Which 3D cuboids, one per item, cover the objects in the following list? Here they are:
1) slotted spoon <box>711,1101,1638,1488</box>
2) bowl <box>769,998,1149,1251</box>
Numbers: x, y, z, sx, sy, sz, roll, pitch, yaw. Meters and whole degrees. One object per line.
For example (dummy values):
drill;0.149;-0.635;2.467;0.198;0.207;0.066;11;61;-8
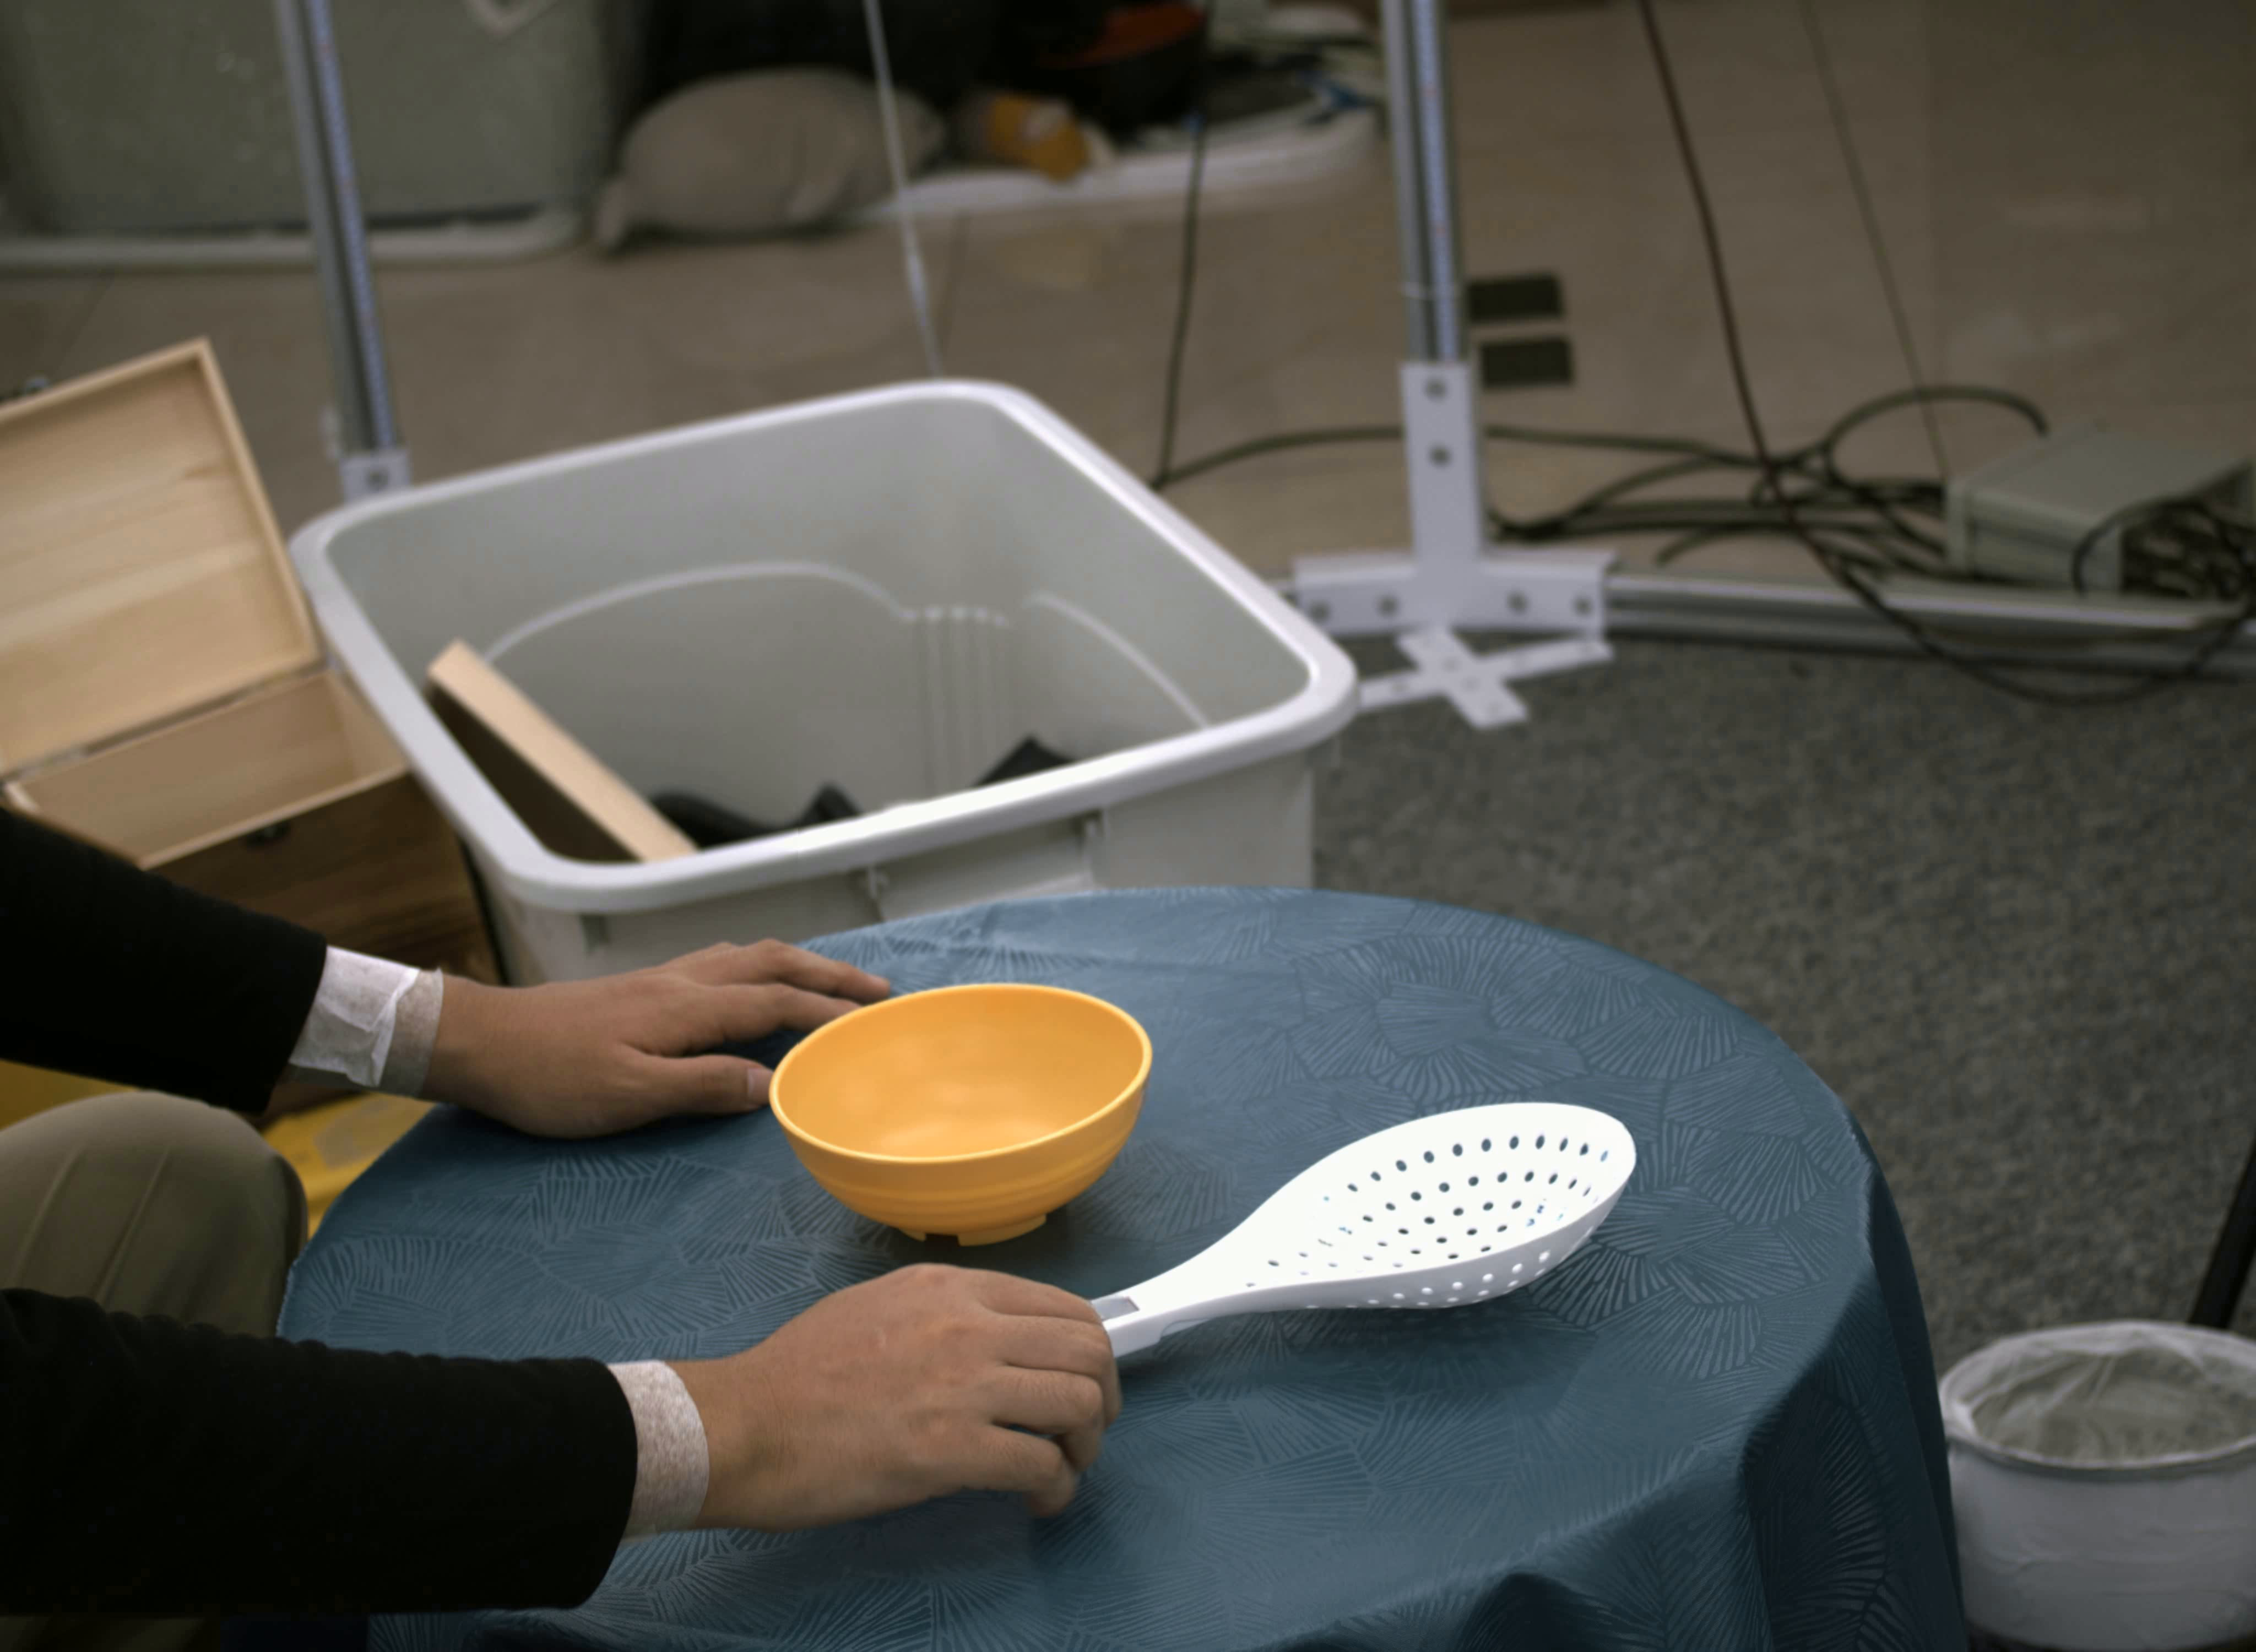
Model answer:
slotted spoon;0.019;0.169;2.022;0.348;0.046;0.134;-14;19;-14
bowl;-0.061;0.120;2.138;0.145;0.061;0.143;-5;23;2
